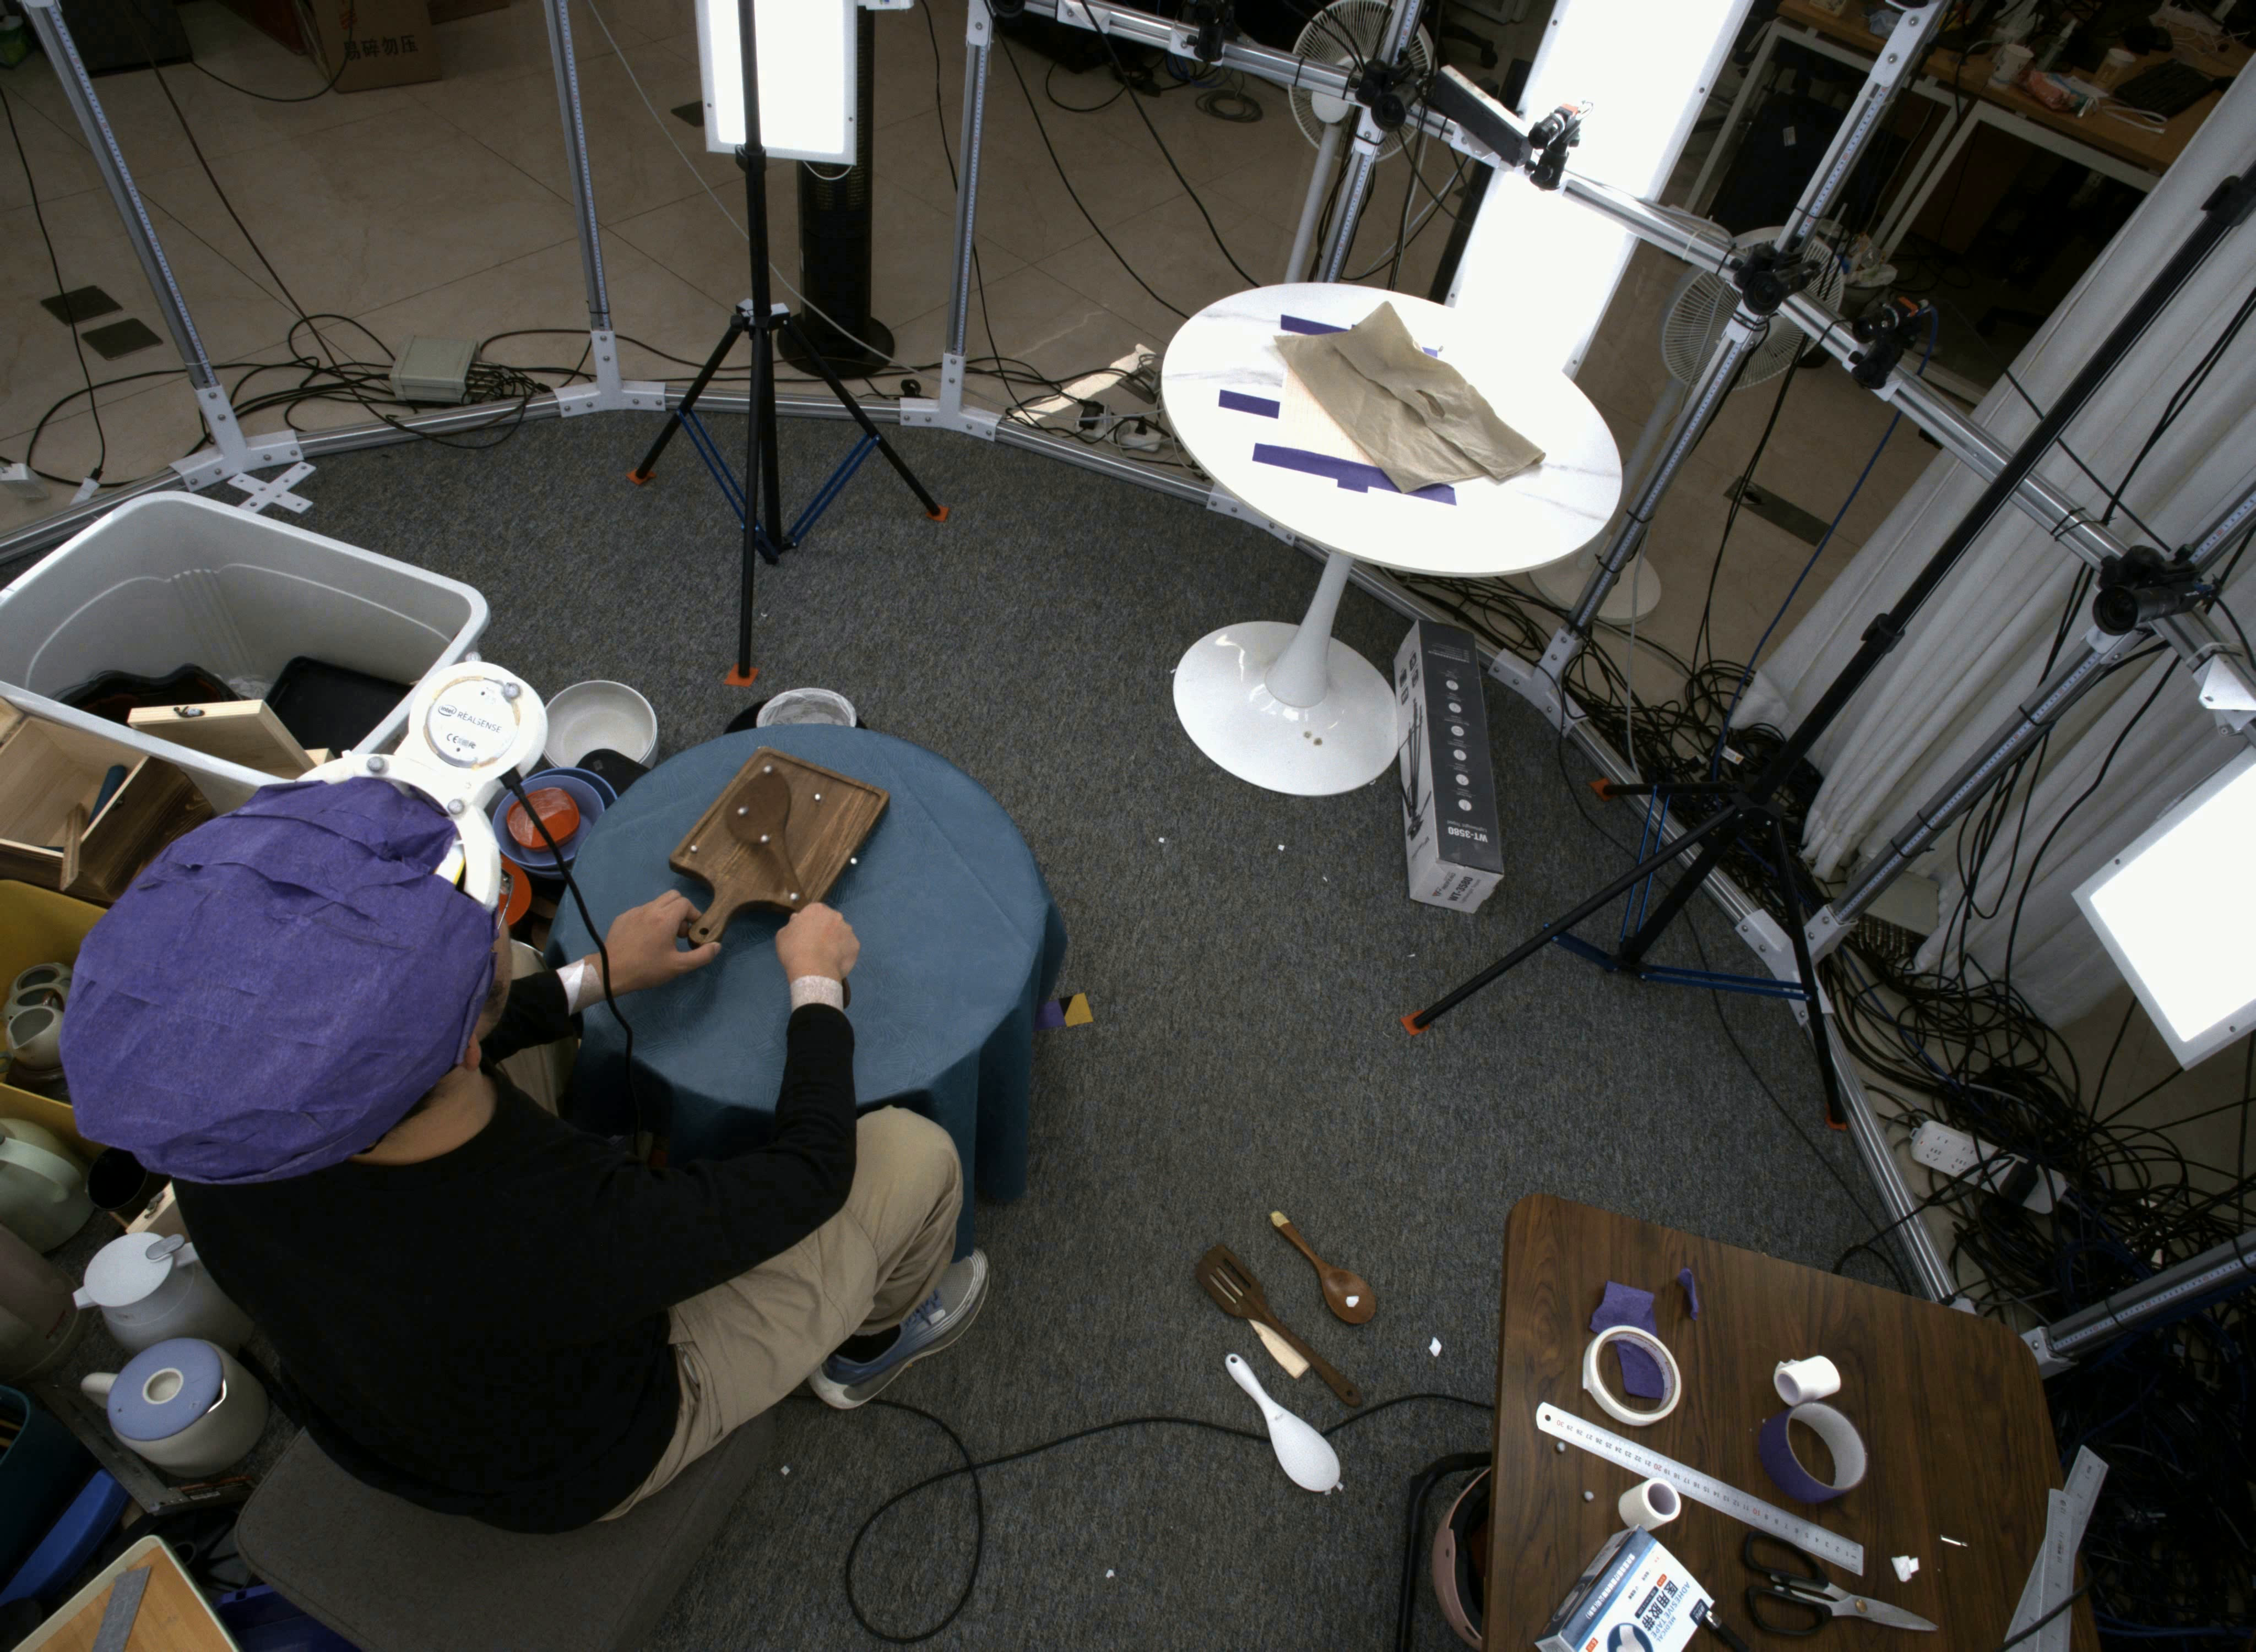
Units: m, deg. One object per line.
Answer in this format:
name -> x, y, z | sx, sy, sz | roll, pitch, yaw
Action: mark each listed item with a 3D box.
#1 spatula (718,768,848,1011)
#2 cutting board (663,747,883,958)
spatula -> -0.407, 0.073, 1.547 | 0.096, 0.016, 0.373 | -40, 55, 7
cutting board -> -0.466, 0.034, 1.637 | 0.199, 0.024, 0.348 | 21, 43, 1
